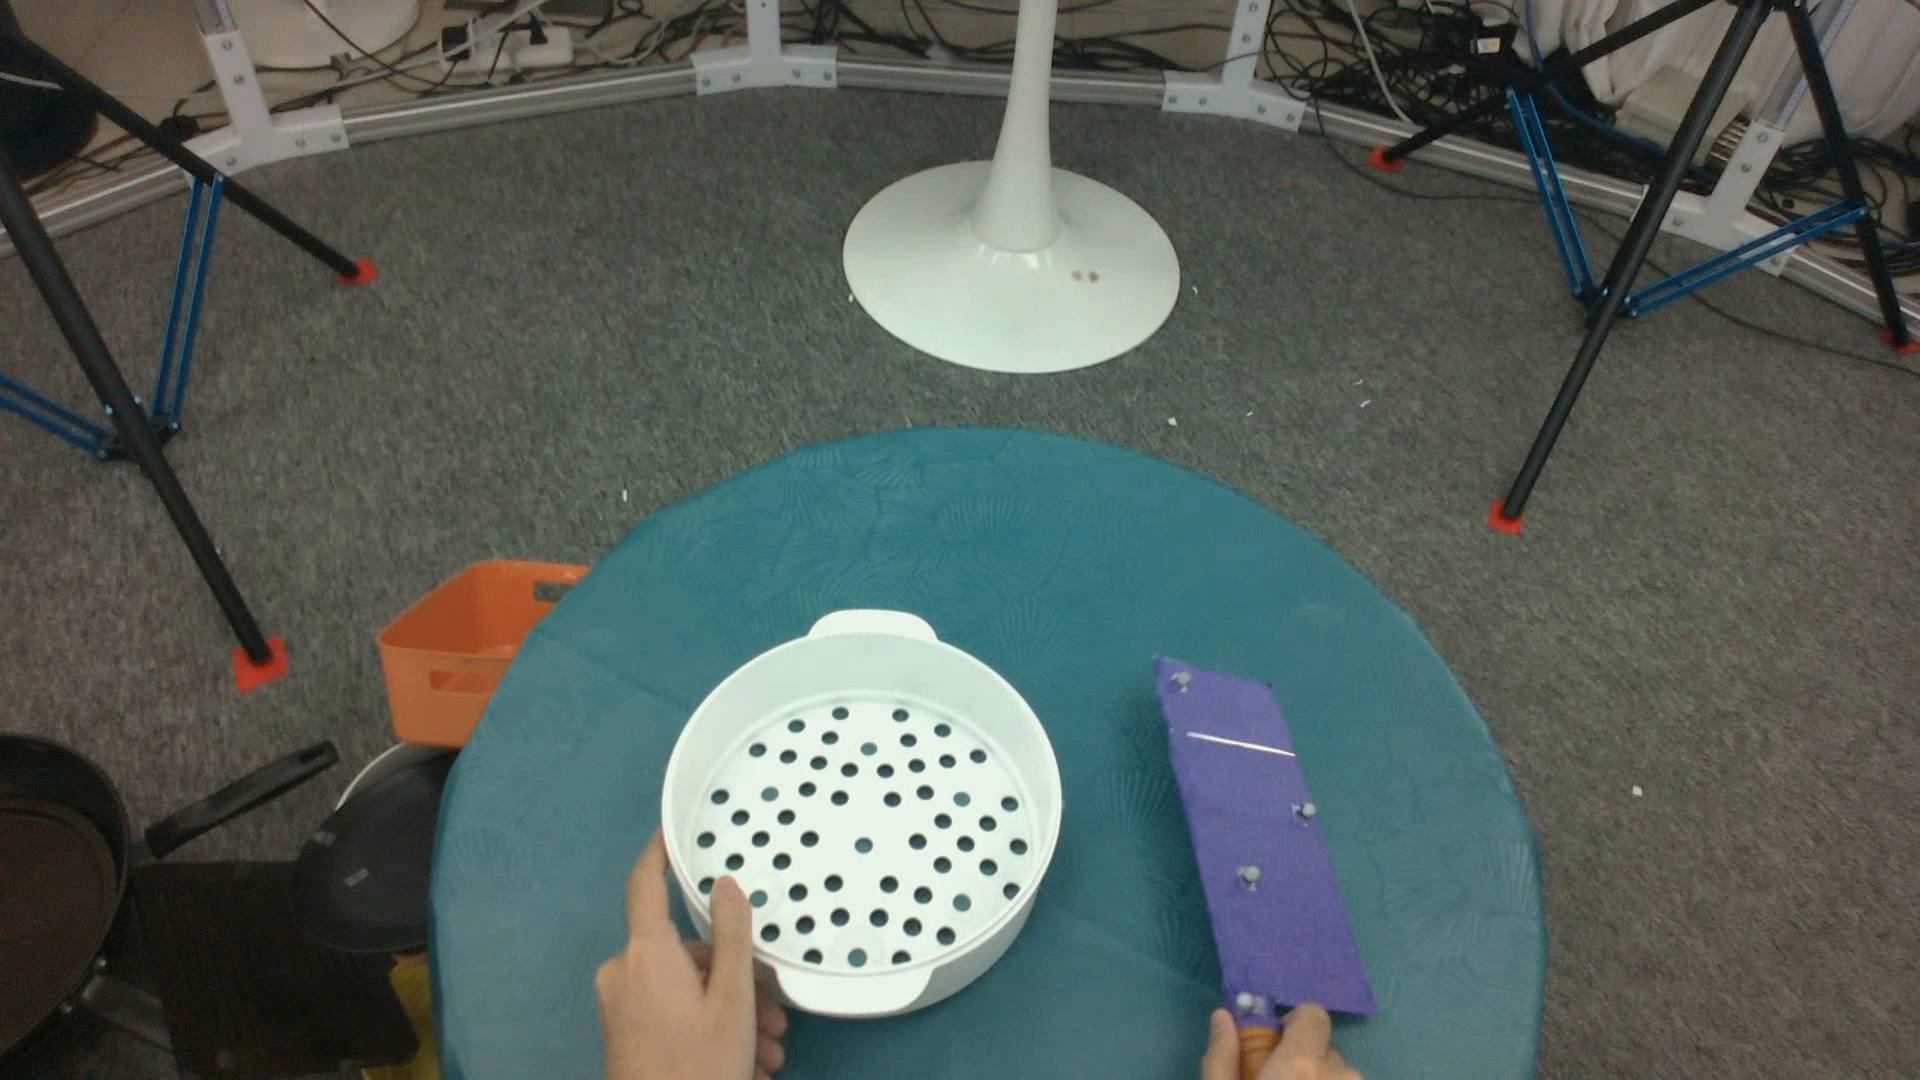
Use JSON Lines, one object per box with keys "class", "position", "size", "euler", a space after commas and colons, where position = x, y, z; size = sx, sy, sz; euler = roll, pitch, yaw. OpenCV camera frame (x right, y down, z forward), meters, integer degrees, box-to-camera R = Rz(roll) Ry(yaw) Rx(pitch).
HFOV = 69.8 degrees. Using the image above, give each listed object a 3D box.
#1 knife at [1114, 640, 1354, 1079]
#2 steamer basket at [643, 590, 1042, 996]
{"class": "knife", "position": [0.155, 0.181, 0.713], "size": [0.104, 0.032, 0.316], "euler": [11, 46, -21]}
{"class": "steamer basket", "position": [-0.060, 0.135, 0.722], "size": [0.202, 0.069, 0.231], "euler": [2, 51, -3]}
